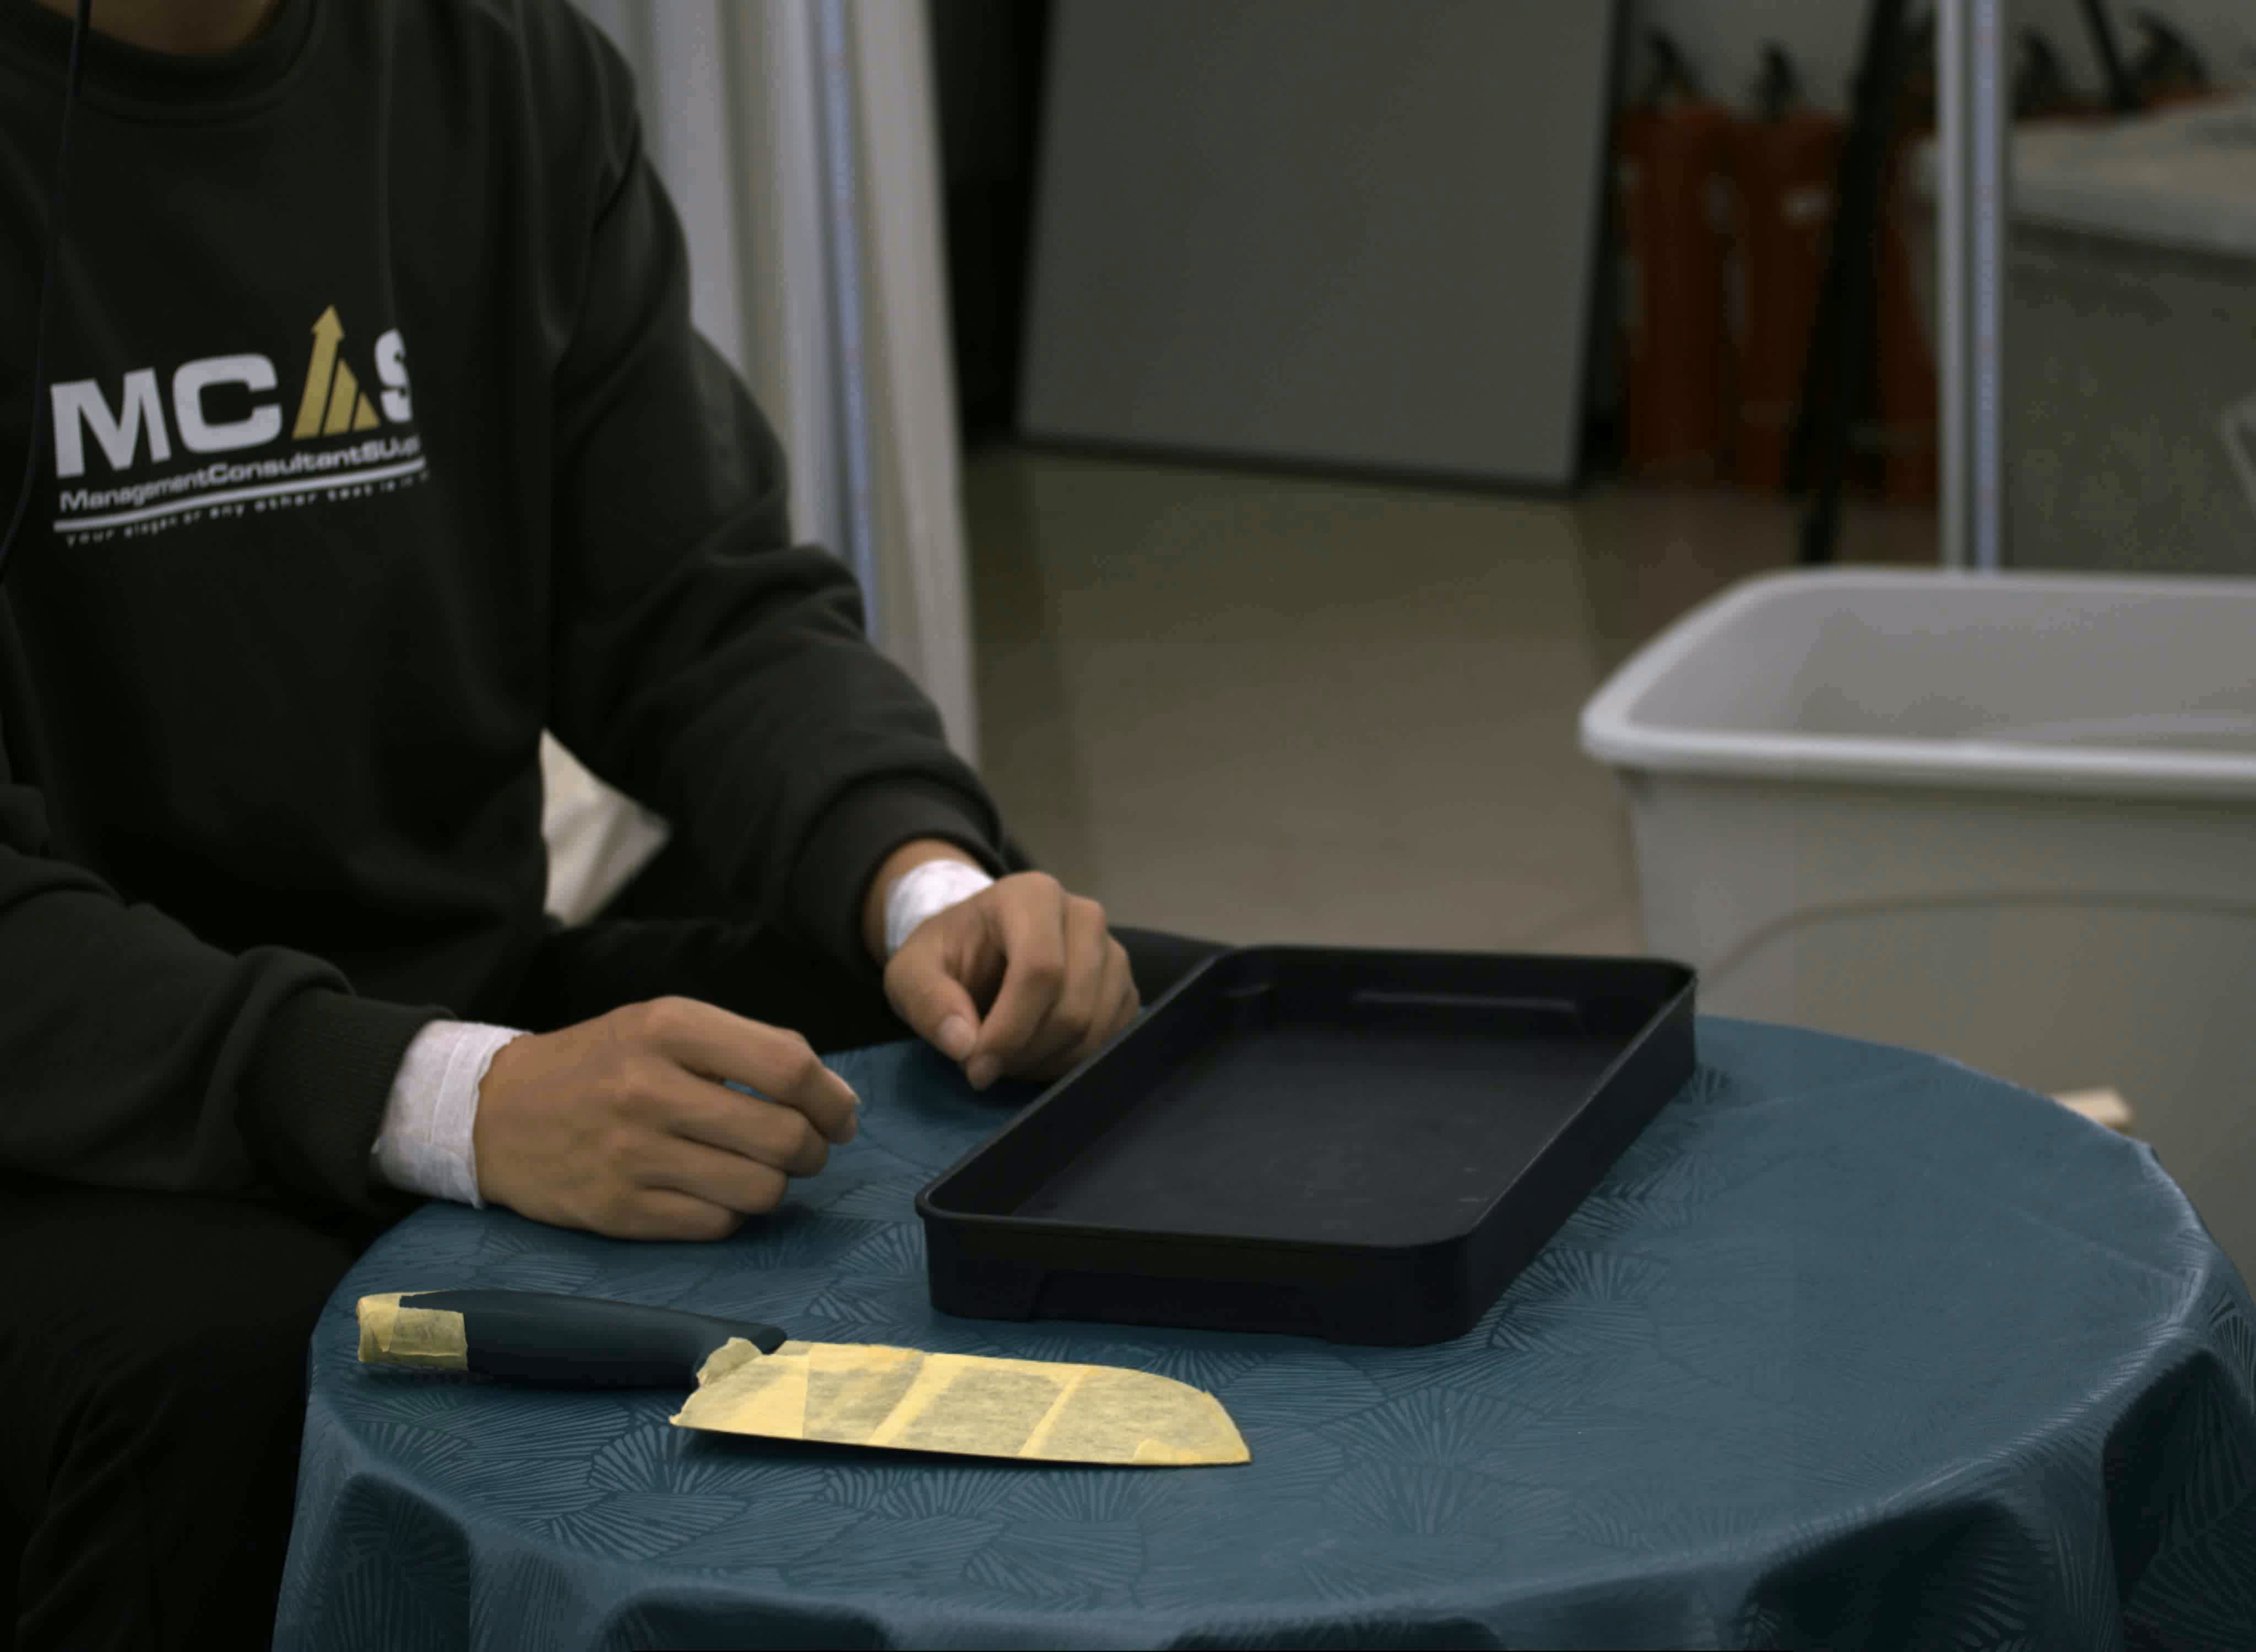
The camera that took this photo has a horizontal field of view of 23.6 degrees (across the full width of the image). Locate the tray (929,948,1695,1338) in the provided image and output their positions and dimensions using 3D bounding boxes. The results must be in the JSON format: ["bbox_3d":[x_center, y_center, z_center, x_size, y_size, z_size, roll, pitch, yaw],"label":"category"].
[{"bbox_3d":[0.069,0.098,1.773,0.184,0.037,0.315,0,14,20],"label":"tray"}]

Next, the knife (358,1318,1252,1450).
[{"bbox_3d":[-0.100,0.167,1.584,0.289,0.027,0.080,2,13,19],"label":"knife"}]
